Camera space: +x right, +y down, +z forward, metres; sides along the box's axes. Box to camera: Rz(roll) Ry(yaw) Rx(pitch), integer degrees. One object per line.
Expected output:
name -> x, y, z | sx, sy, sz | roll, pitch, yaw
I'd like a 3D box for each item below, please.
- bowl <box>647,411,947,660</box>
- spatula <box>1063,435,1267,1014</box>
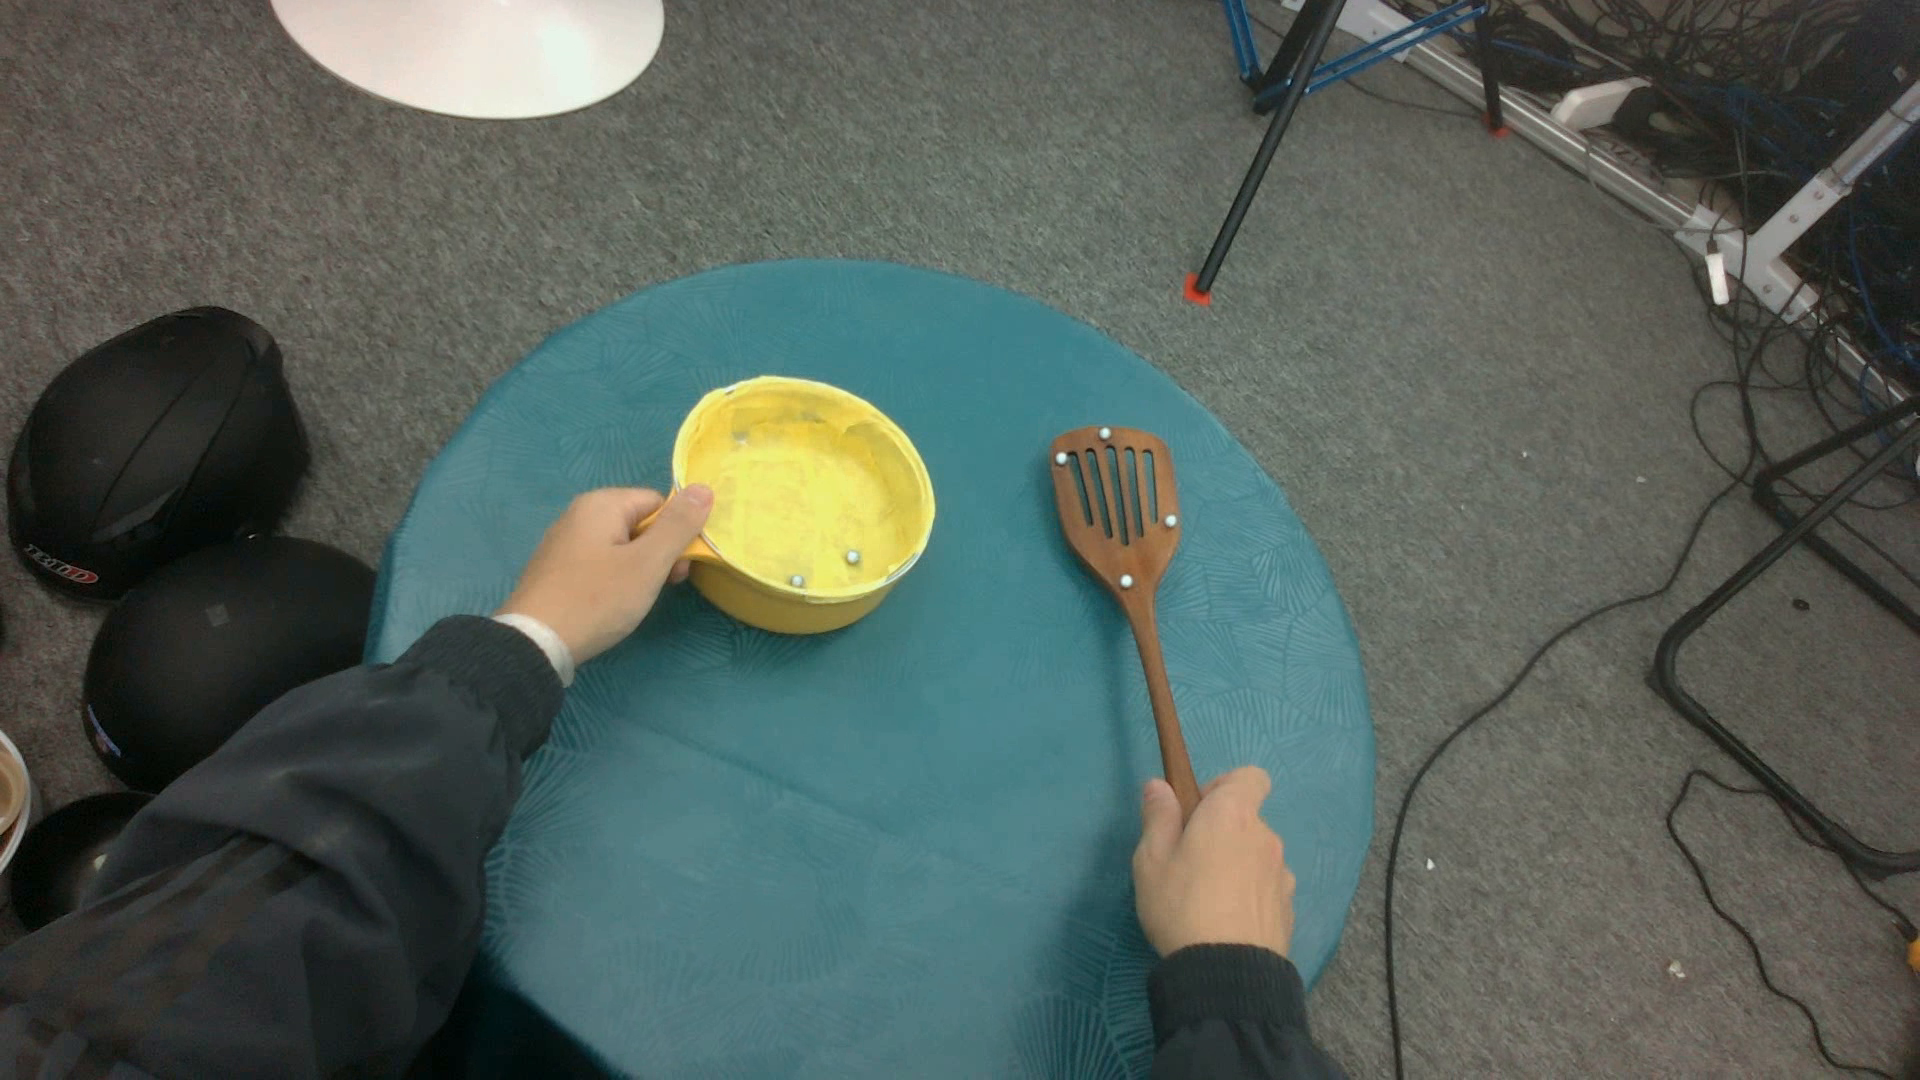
bowl -> -0.101, 0.005, 0.811 | 0.180, 0.074, 0.153 | -31, 70, -36
spatula -> 0.129, 0.090, 0.828 | 0.085, 0.024, 0.388 | -3, 53, -7
